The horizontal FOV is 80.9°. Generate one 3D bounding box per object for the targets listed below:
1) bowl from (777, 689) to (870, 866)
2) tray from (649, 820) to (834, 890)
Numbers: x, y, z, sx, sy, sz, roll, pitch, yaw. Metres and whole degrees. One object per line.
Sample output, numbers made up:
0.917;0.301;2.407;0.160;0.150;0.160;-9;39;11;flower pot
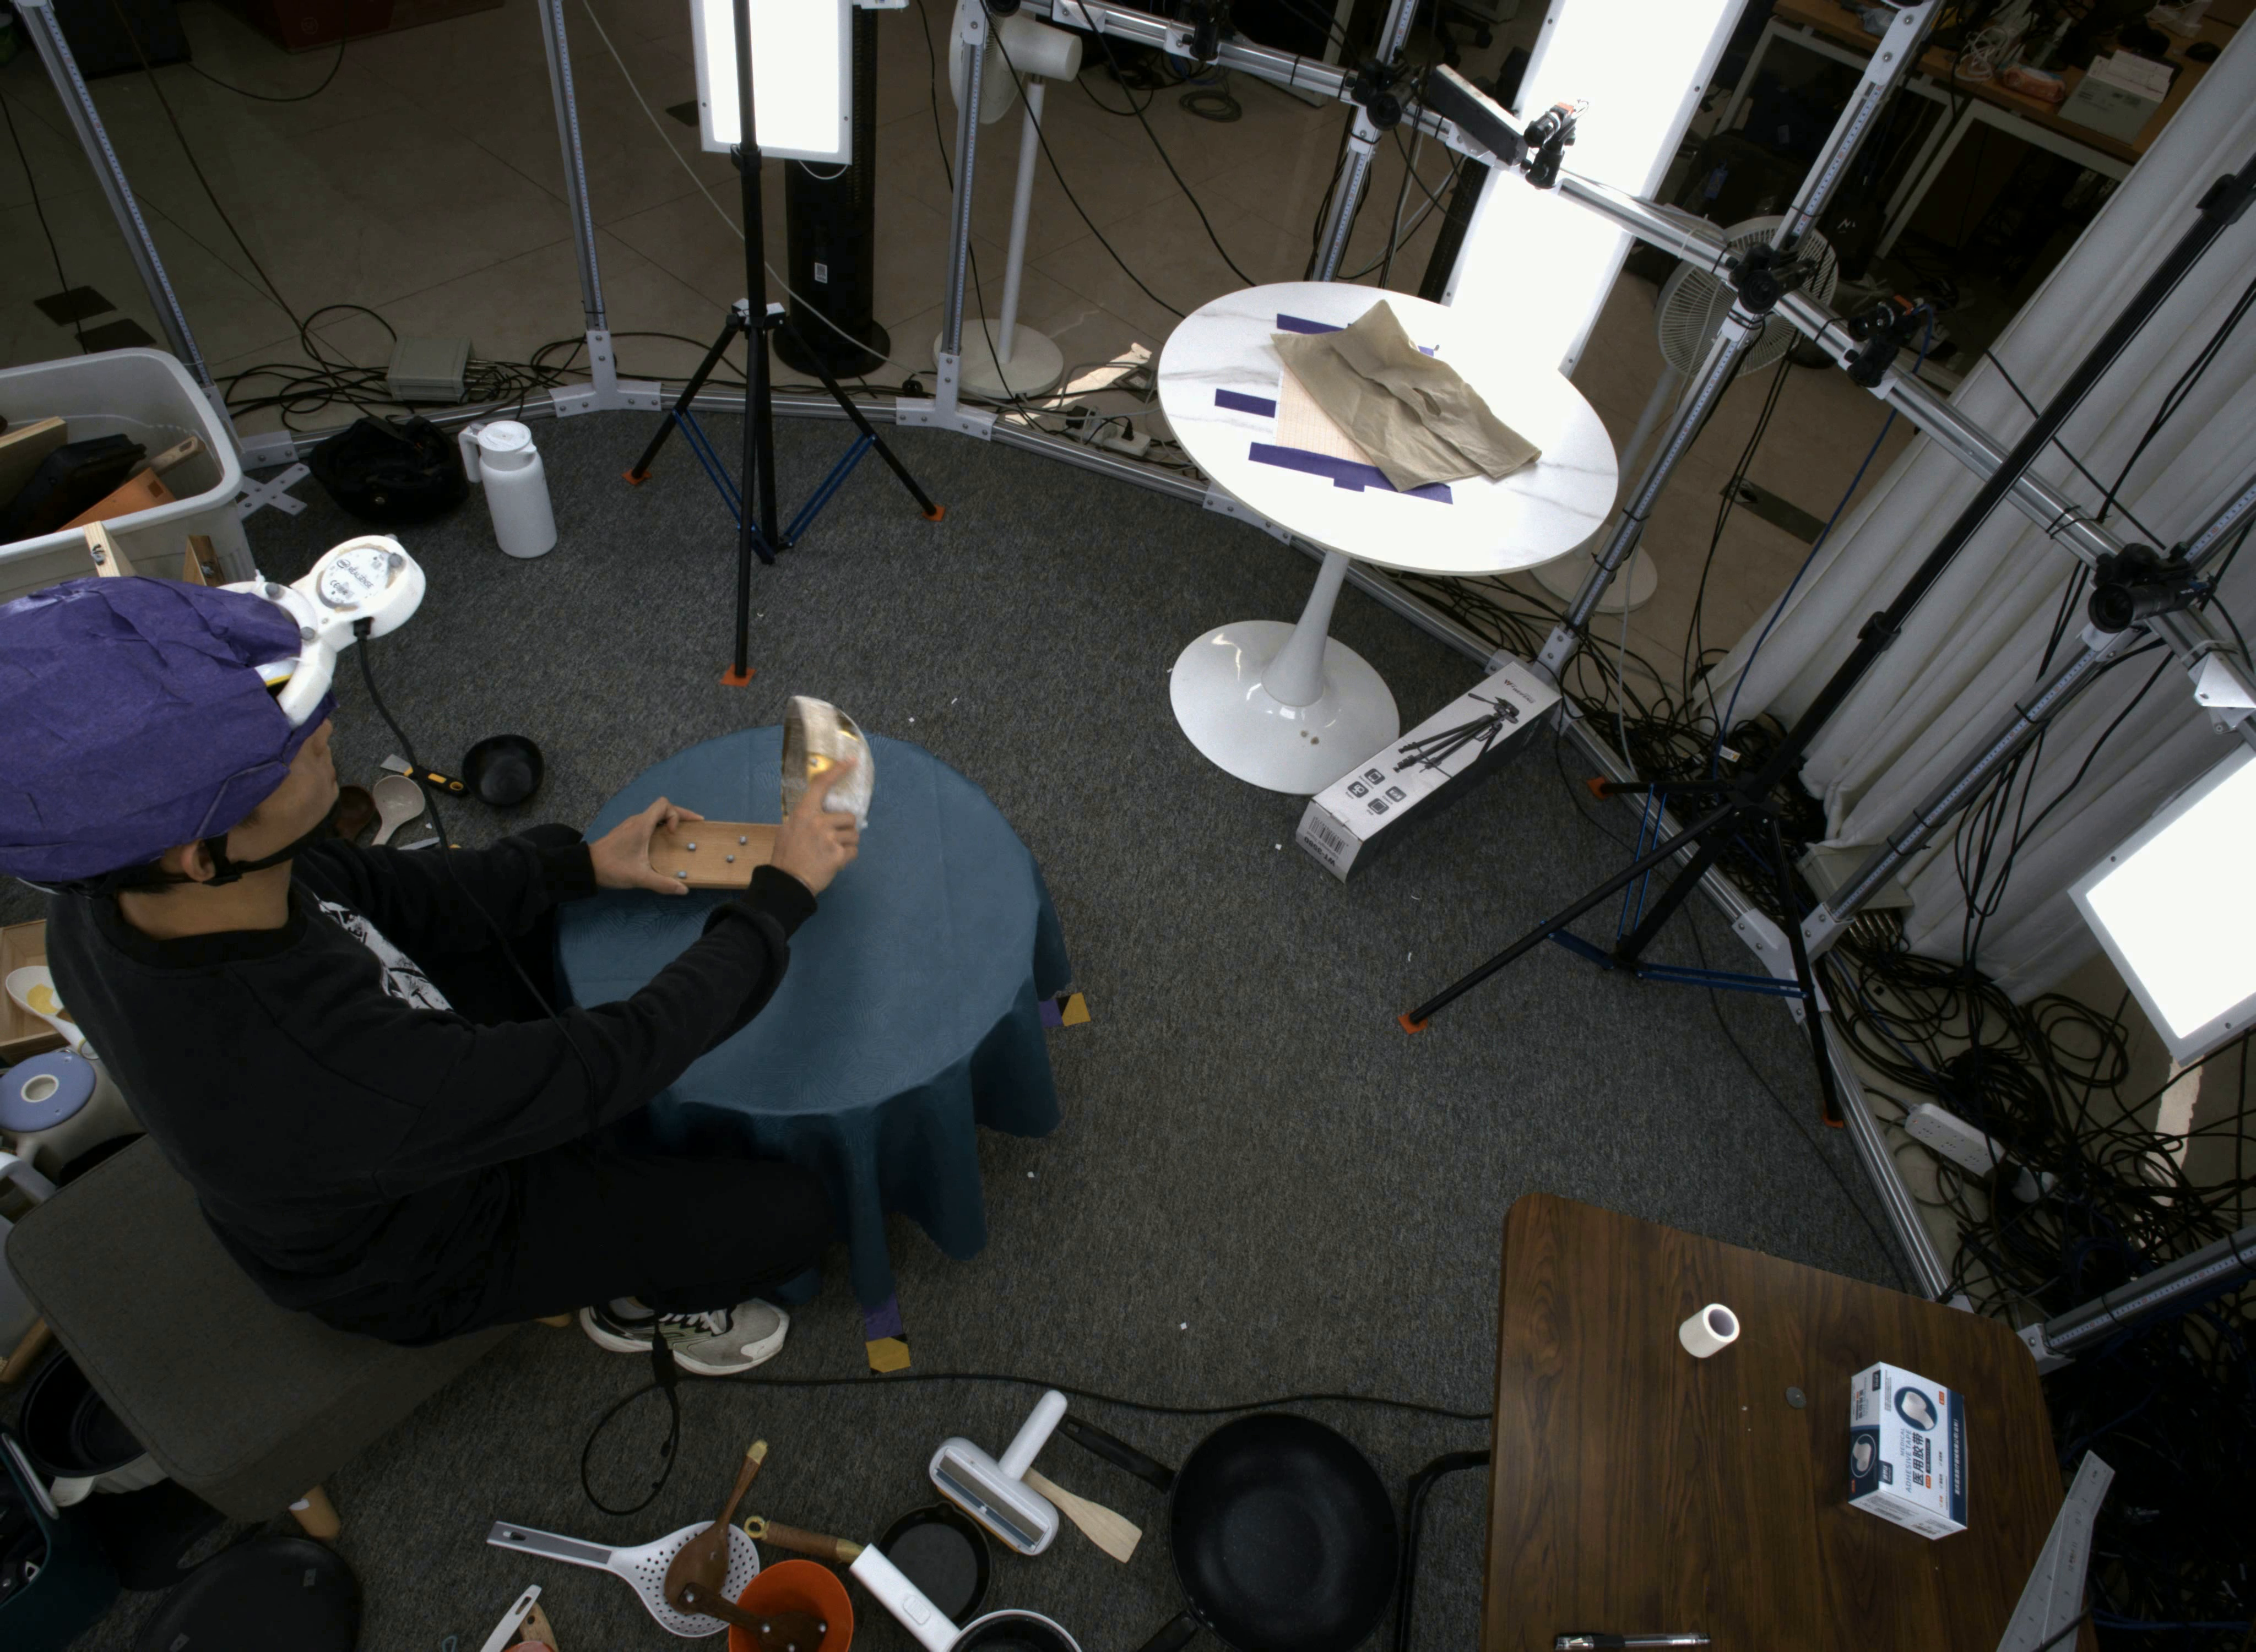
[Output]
-0.363;-0.058;1.556;0.095;0.218;0.209;-4;53;-23;bowl
-0.491;0.037;1.648;0.234;0.020;0.099;3;53;-28;tray
